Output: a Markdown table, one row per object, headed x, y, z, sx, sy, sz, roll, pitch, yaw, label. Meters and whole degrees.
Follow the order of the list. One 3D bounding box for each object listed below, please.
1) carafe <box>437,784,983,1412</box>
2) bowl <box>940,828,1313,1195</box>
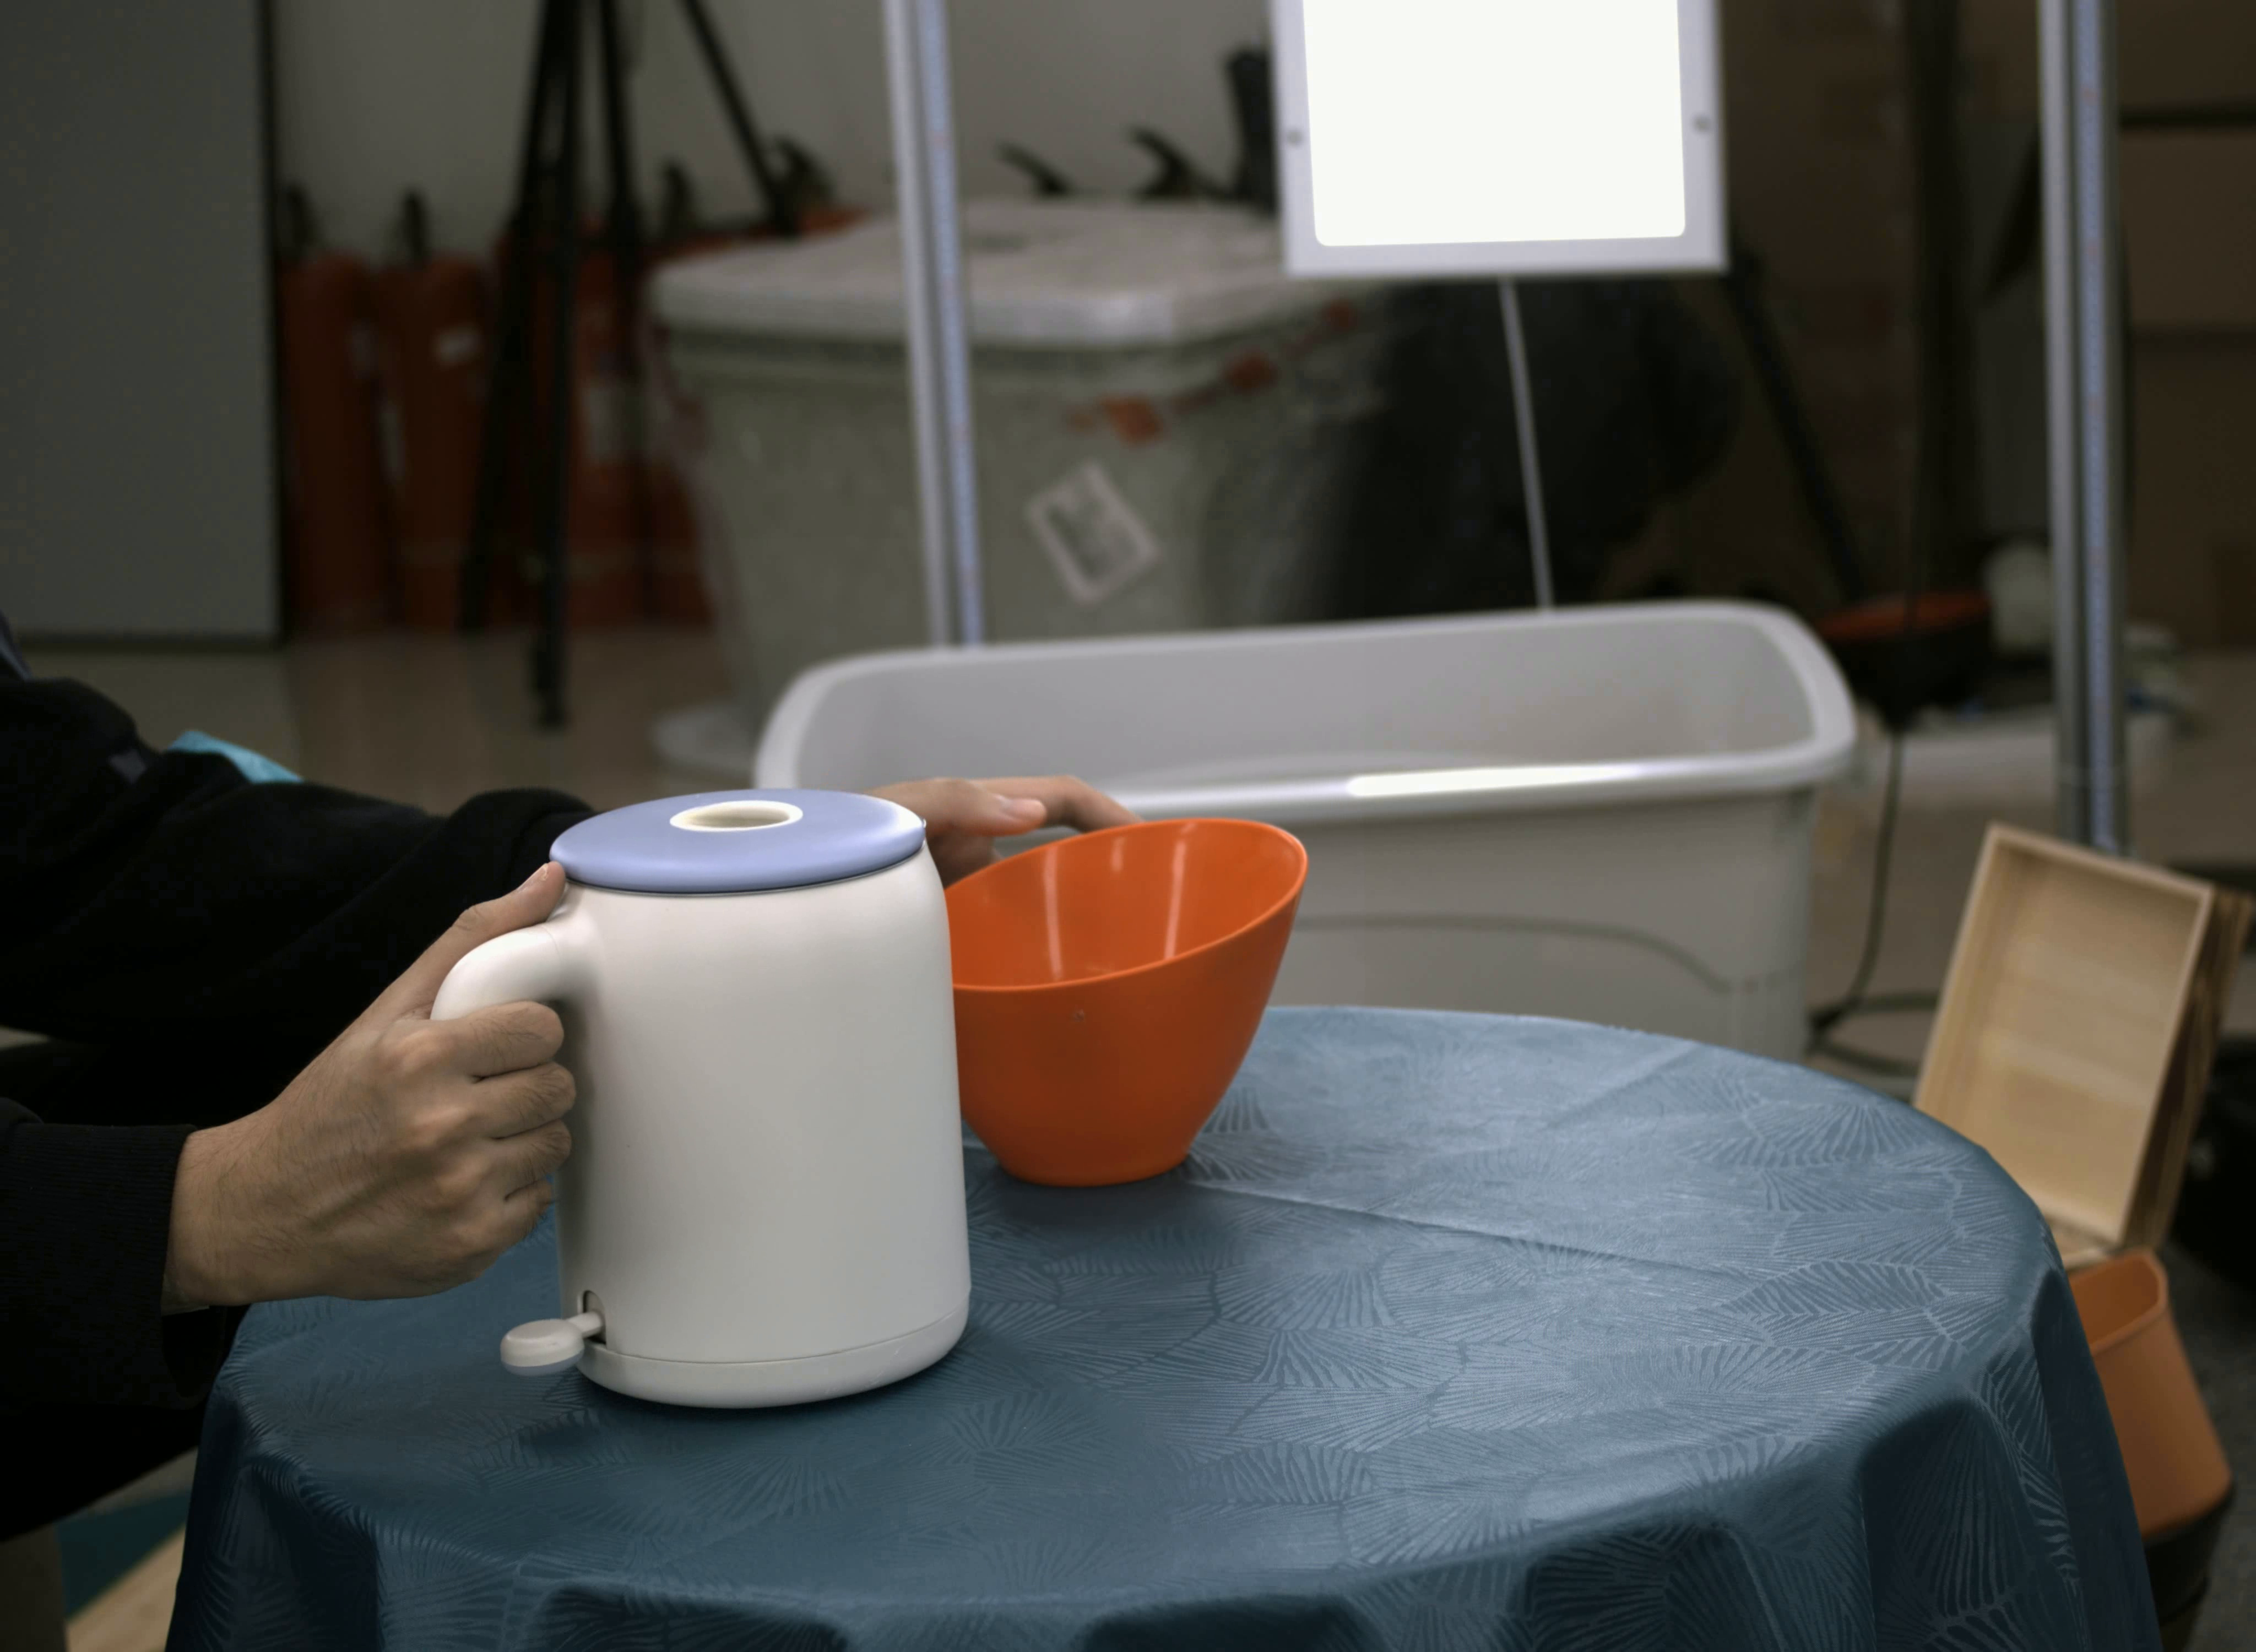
| x | y | z | sx | sy | sz | roll | pitch | yaw | label |
| --- | --- | --- | --- | --- | --- | --- | --- | --- | --- |
| -0.136 | 0.090 | 1.729 | 0.186 | 0.183 | 0.135 | -16 | 16 | -35 | carafe |
| -0.005 | 0.068 | 1.925 | 0.147 | 0.105 | 0.148 | -5 | 14 | 0 | bowl |
